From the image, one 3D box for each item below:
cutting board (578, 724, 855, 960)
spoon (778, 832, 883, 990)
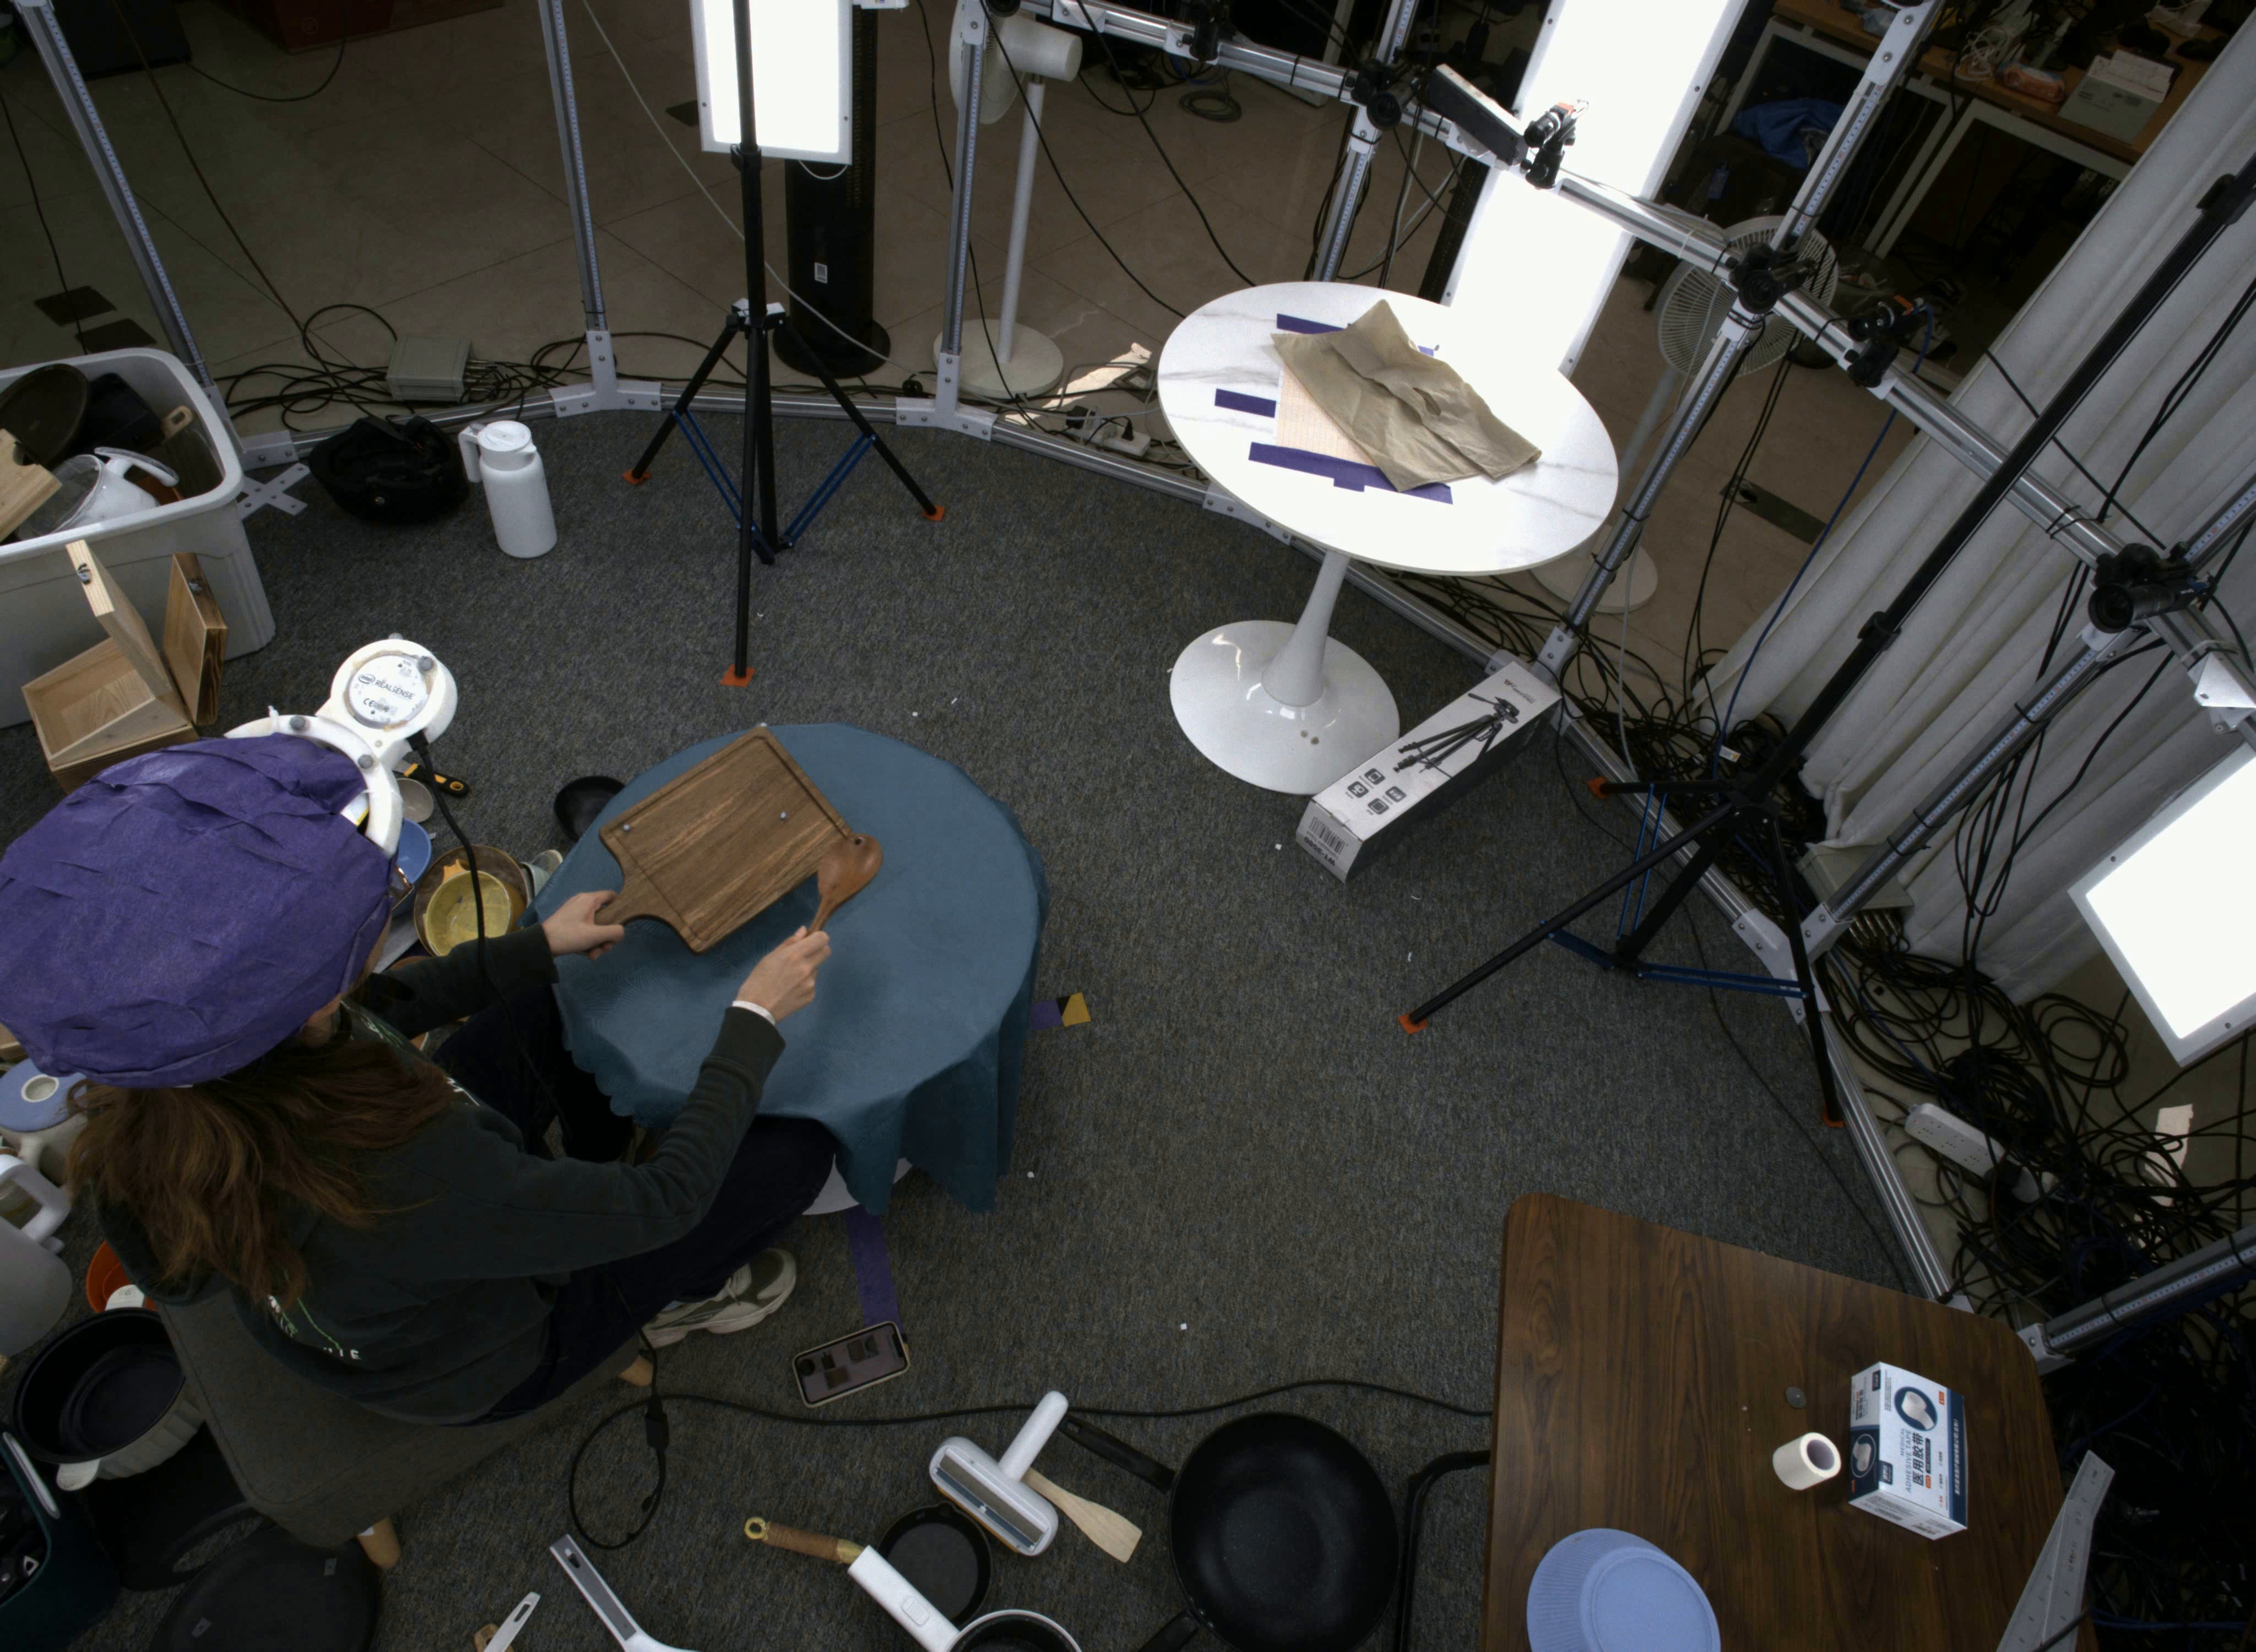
[{"bbox_3d":[-0.524,0.040,1.566,0.352,0.023,0.202,-40,91,-30],"label":"cutting board"},{"bbox_3d":[-0.348,0.094,1.496,0.073,0.018,0.214,14,57,15],"label":"spoon"}]
